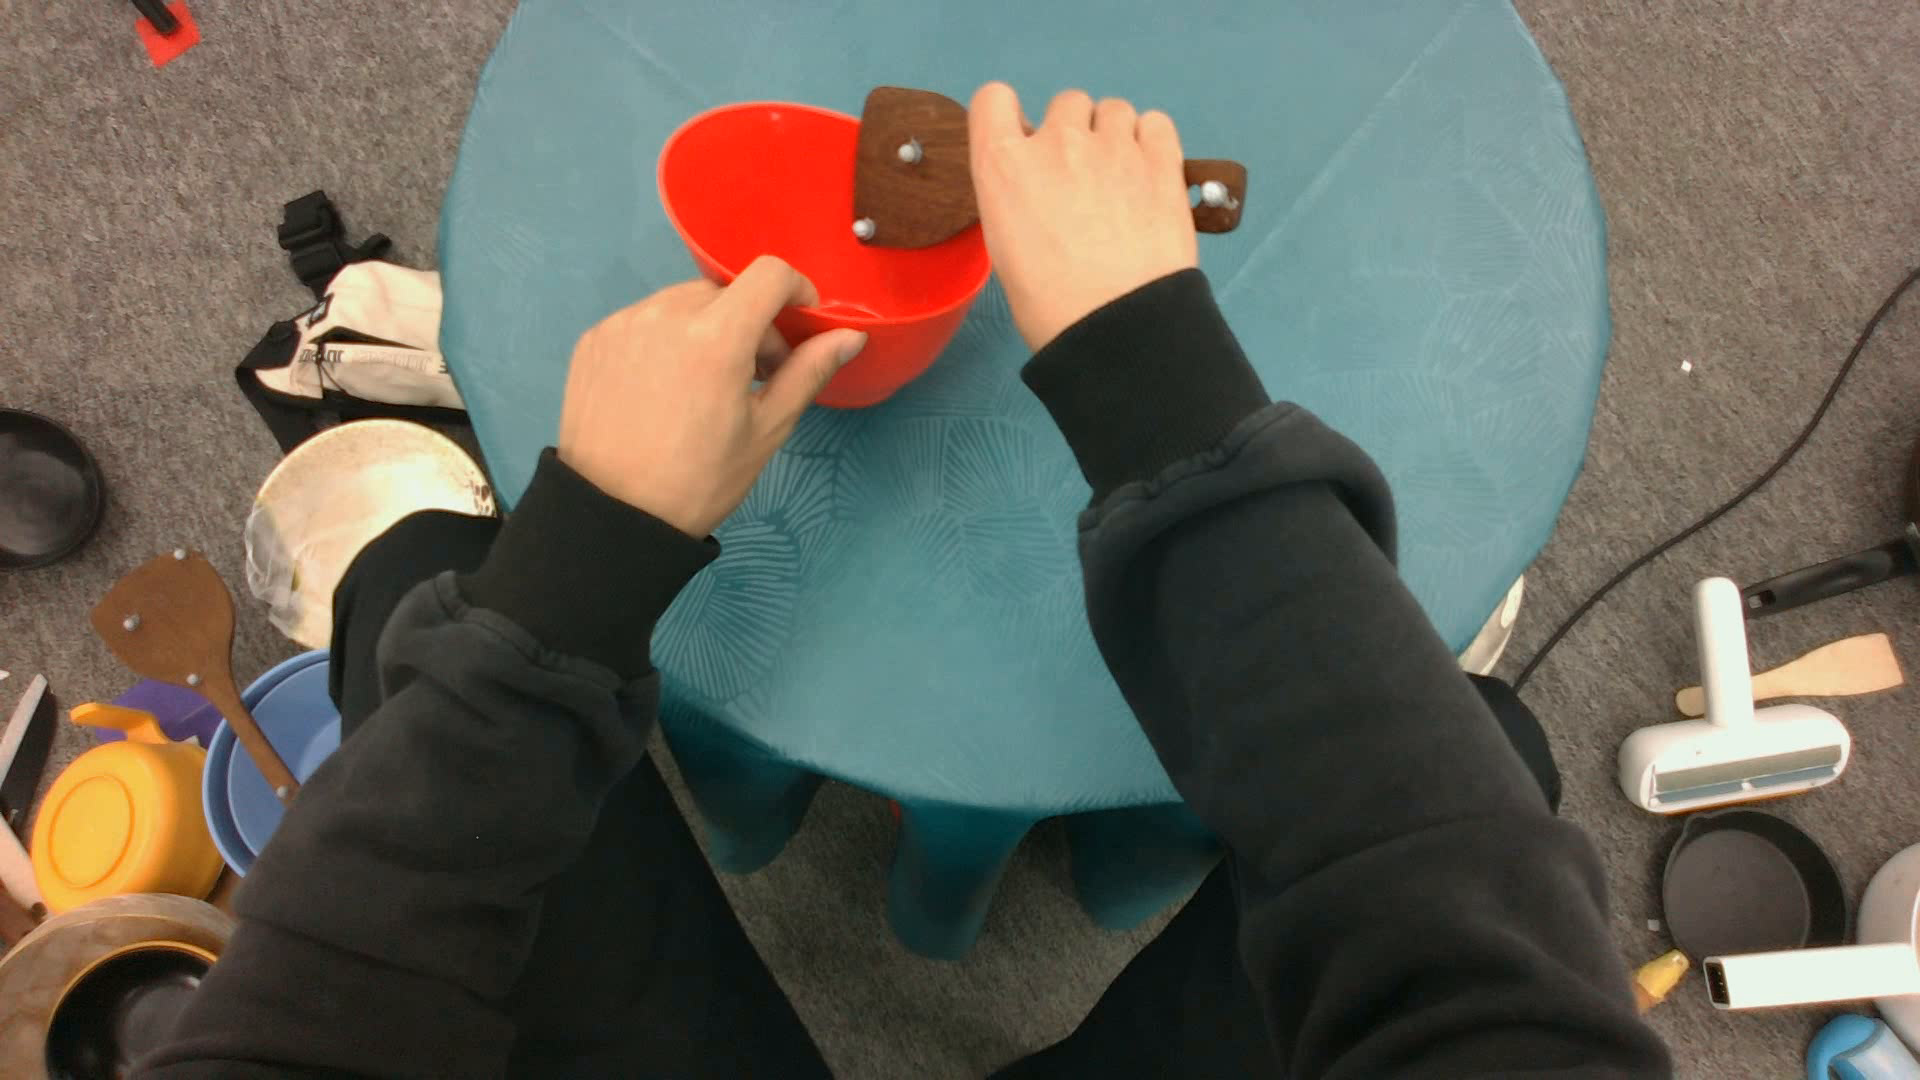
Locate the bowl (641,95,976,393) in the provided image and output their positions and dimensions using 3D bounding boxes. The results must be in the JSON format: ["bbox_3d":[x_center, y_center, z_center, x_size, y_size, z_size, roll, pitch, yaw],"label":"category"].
[{"bbox_3d":[-0.070,-0.126,0.635,0.148,0.104,0.148,6,50,-7],"label":"bowl"}]

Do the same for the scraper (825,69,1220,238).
[{"bbox_3d":[0.019,-0.162,0.595,0.211,0.011,0.075,16,108,37],"label":"scraper"}]
